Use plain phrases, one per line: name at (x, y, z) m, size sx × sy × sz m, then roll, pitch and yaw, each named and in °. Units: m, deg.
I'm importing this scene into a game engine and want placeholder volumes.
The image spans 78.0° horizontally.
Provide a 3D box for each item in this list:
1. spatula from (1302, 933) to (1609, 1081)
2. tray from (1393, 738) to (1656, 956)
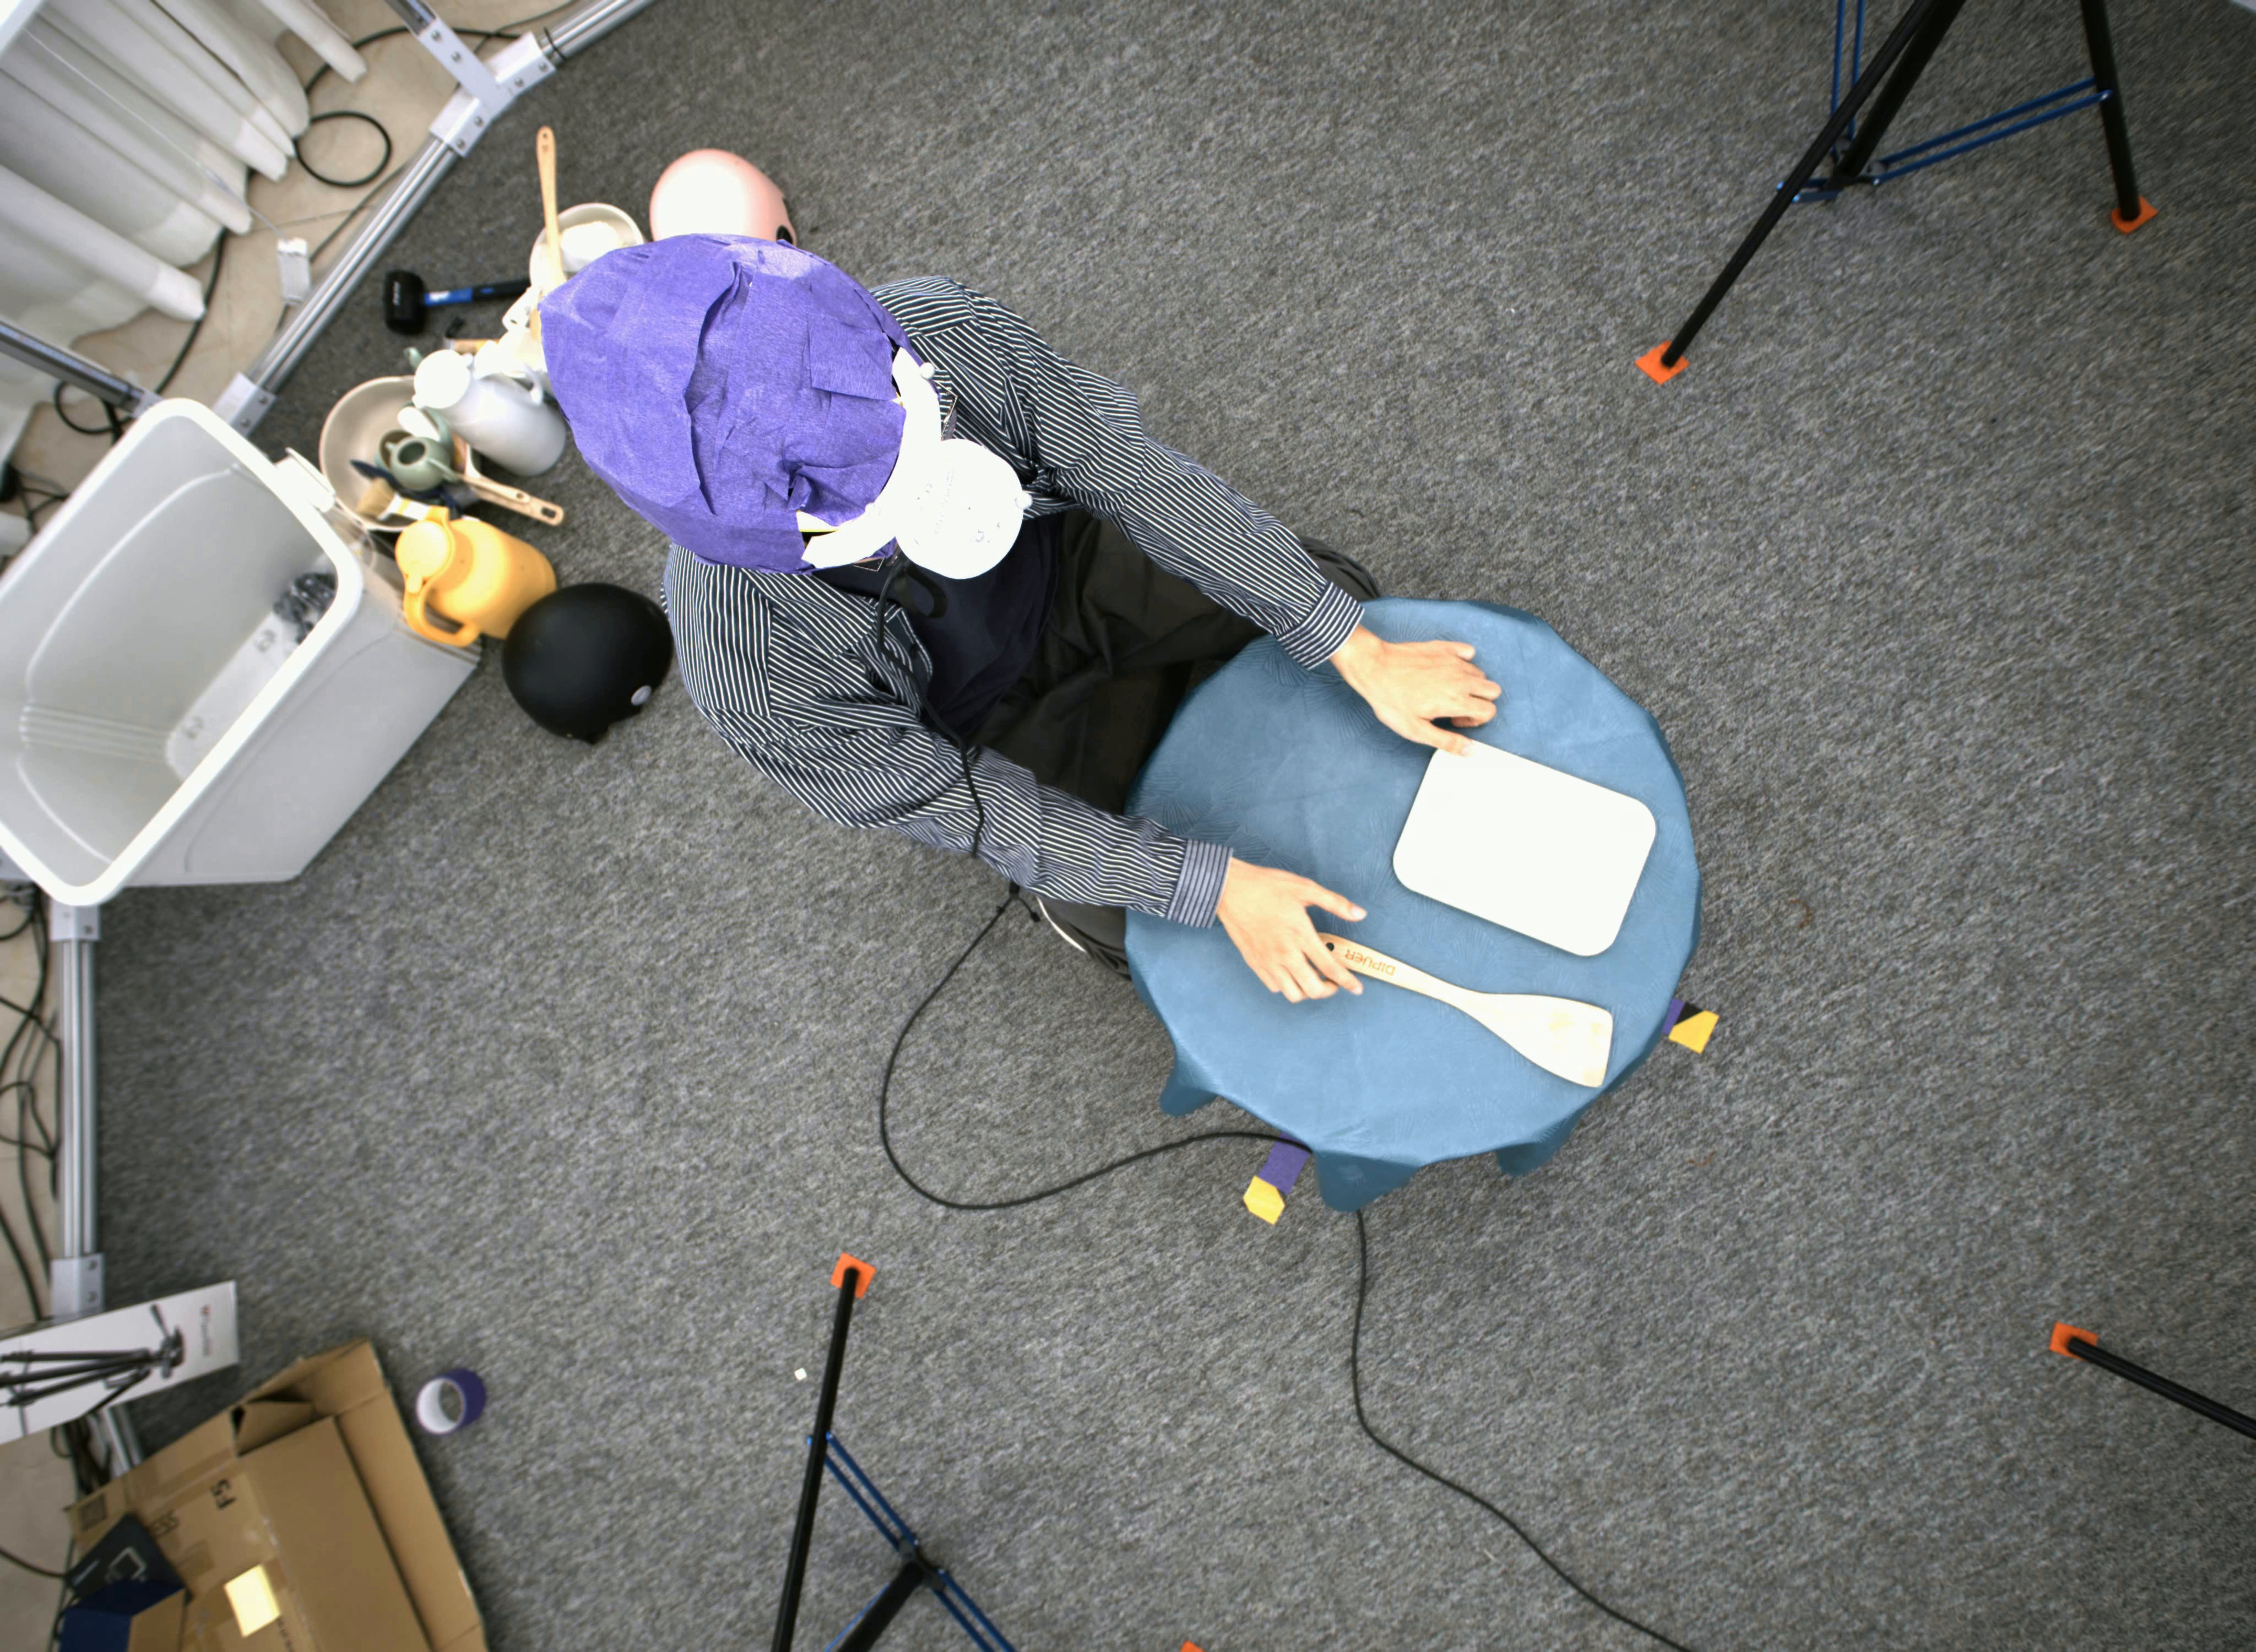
spatula at (0.337, 0.170, 1.424) m, size 0.328 × 0.016 × 0.080 m, roll 19°, pitch 90°, yaw 10°
tray at (0.407, 0.018, 1.417) m, size 0.239 × 0.017 × 0.171 m, roll 22°, pitch 91°, yaw 10°
